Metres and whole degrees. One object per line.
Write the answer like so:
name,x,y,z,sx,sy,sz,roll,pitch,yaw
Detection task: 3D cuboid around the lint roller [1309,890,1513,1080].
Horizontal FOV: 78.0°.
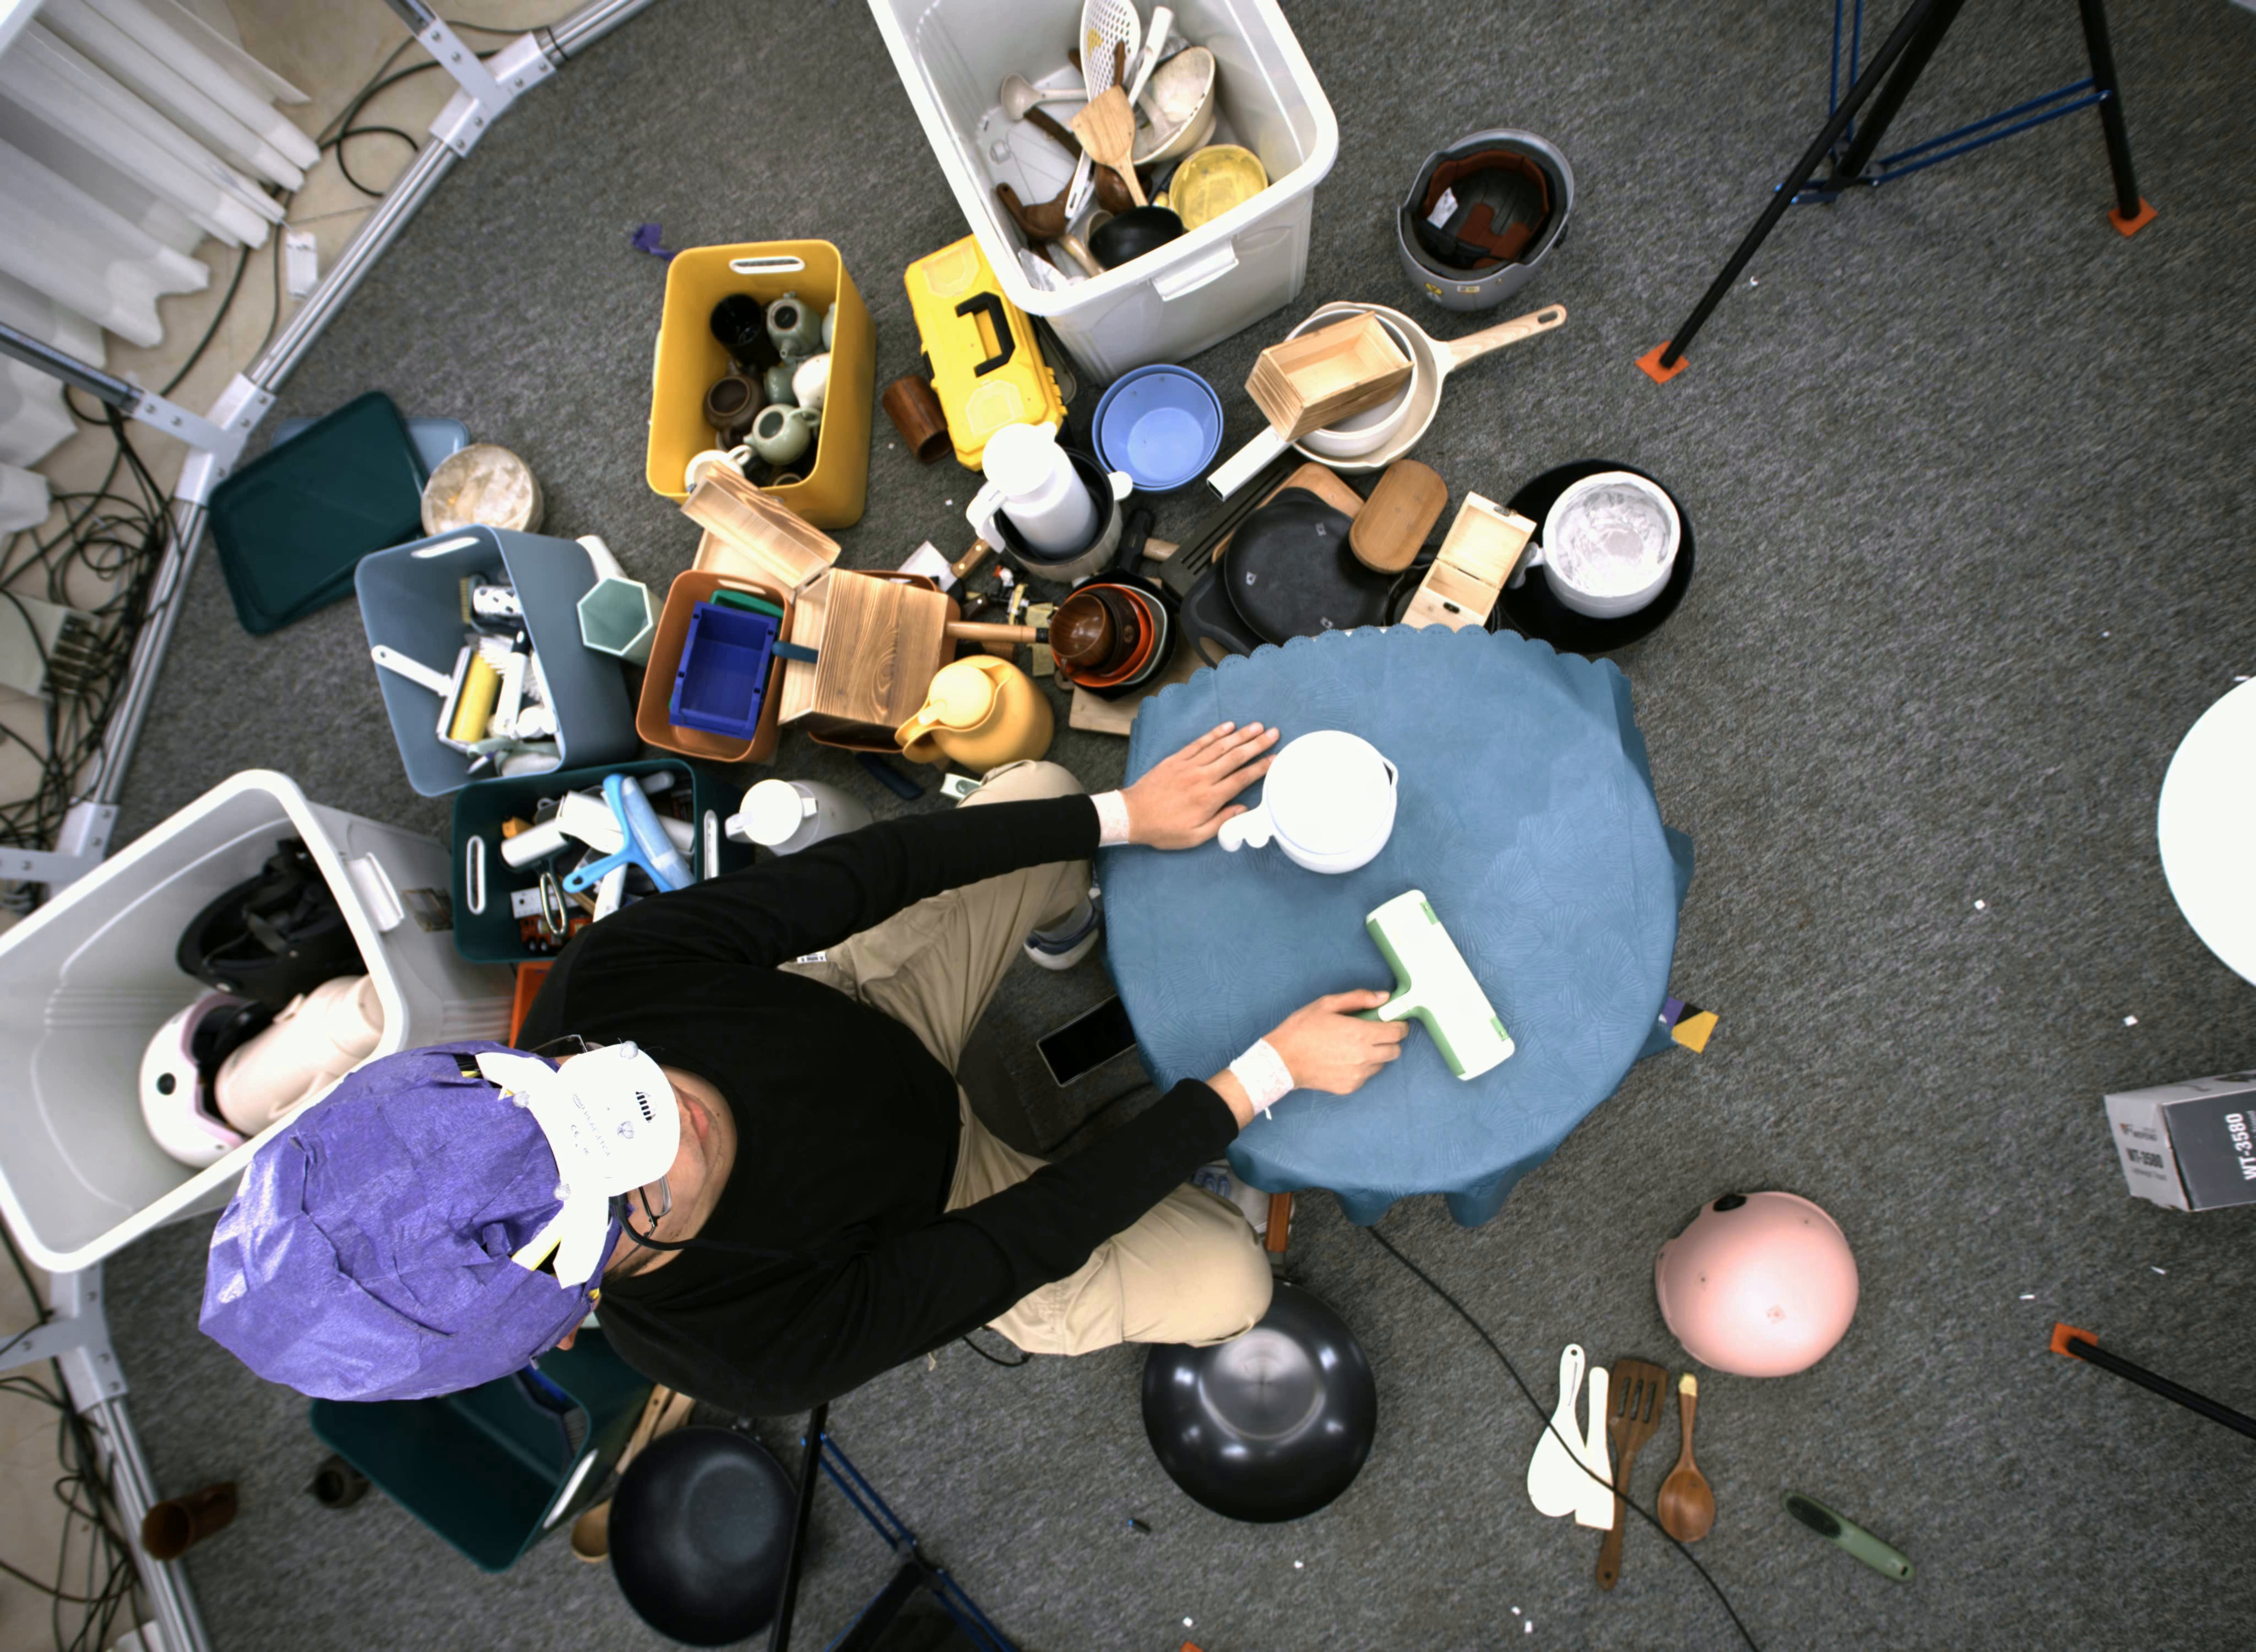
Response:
lint roller,0.267,0.187,1.410,0.183,0.083,0.197,-29,80,-1

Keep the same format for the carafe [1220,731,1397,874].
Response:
carafe,0.181,-0.014,1.394,0.192,0.182,0.131,-21,81,10
